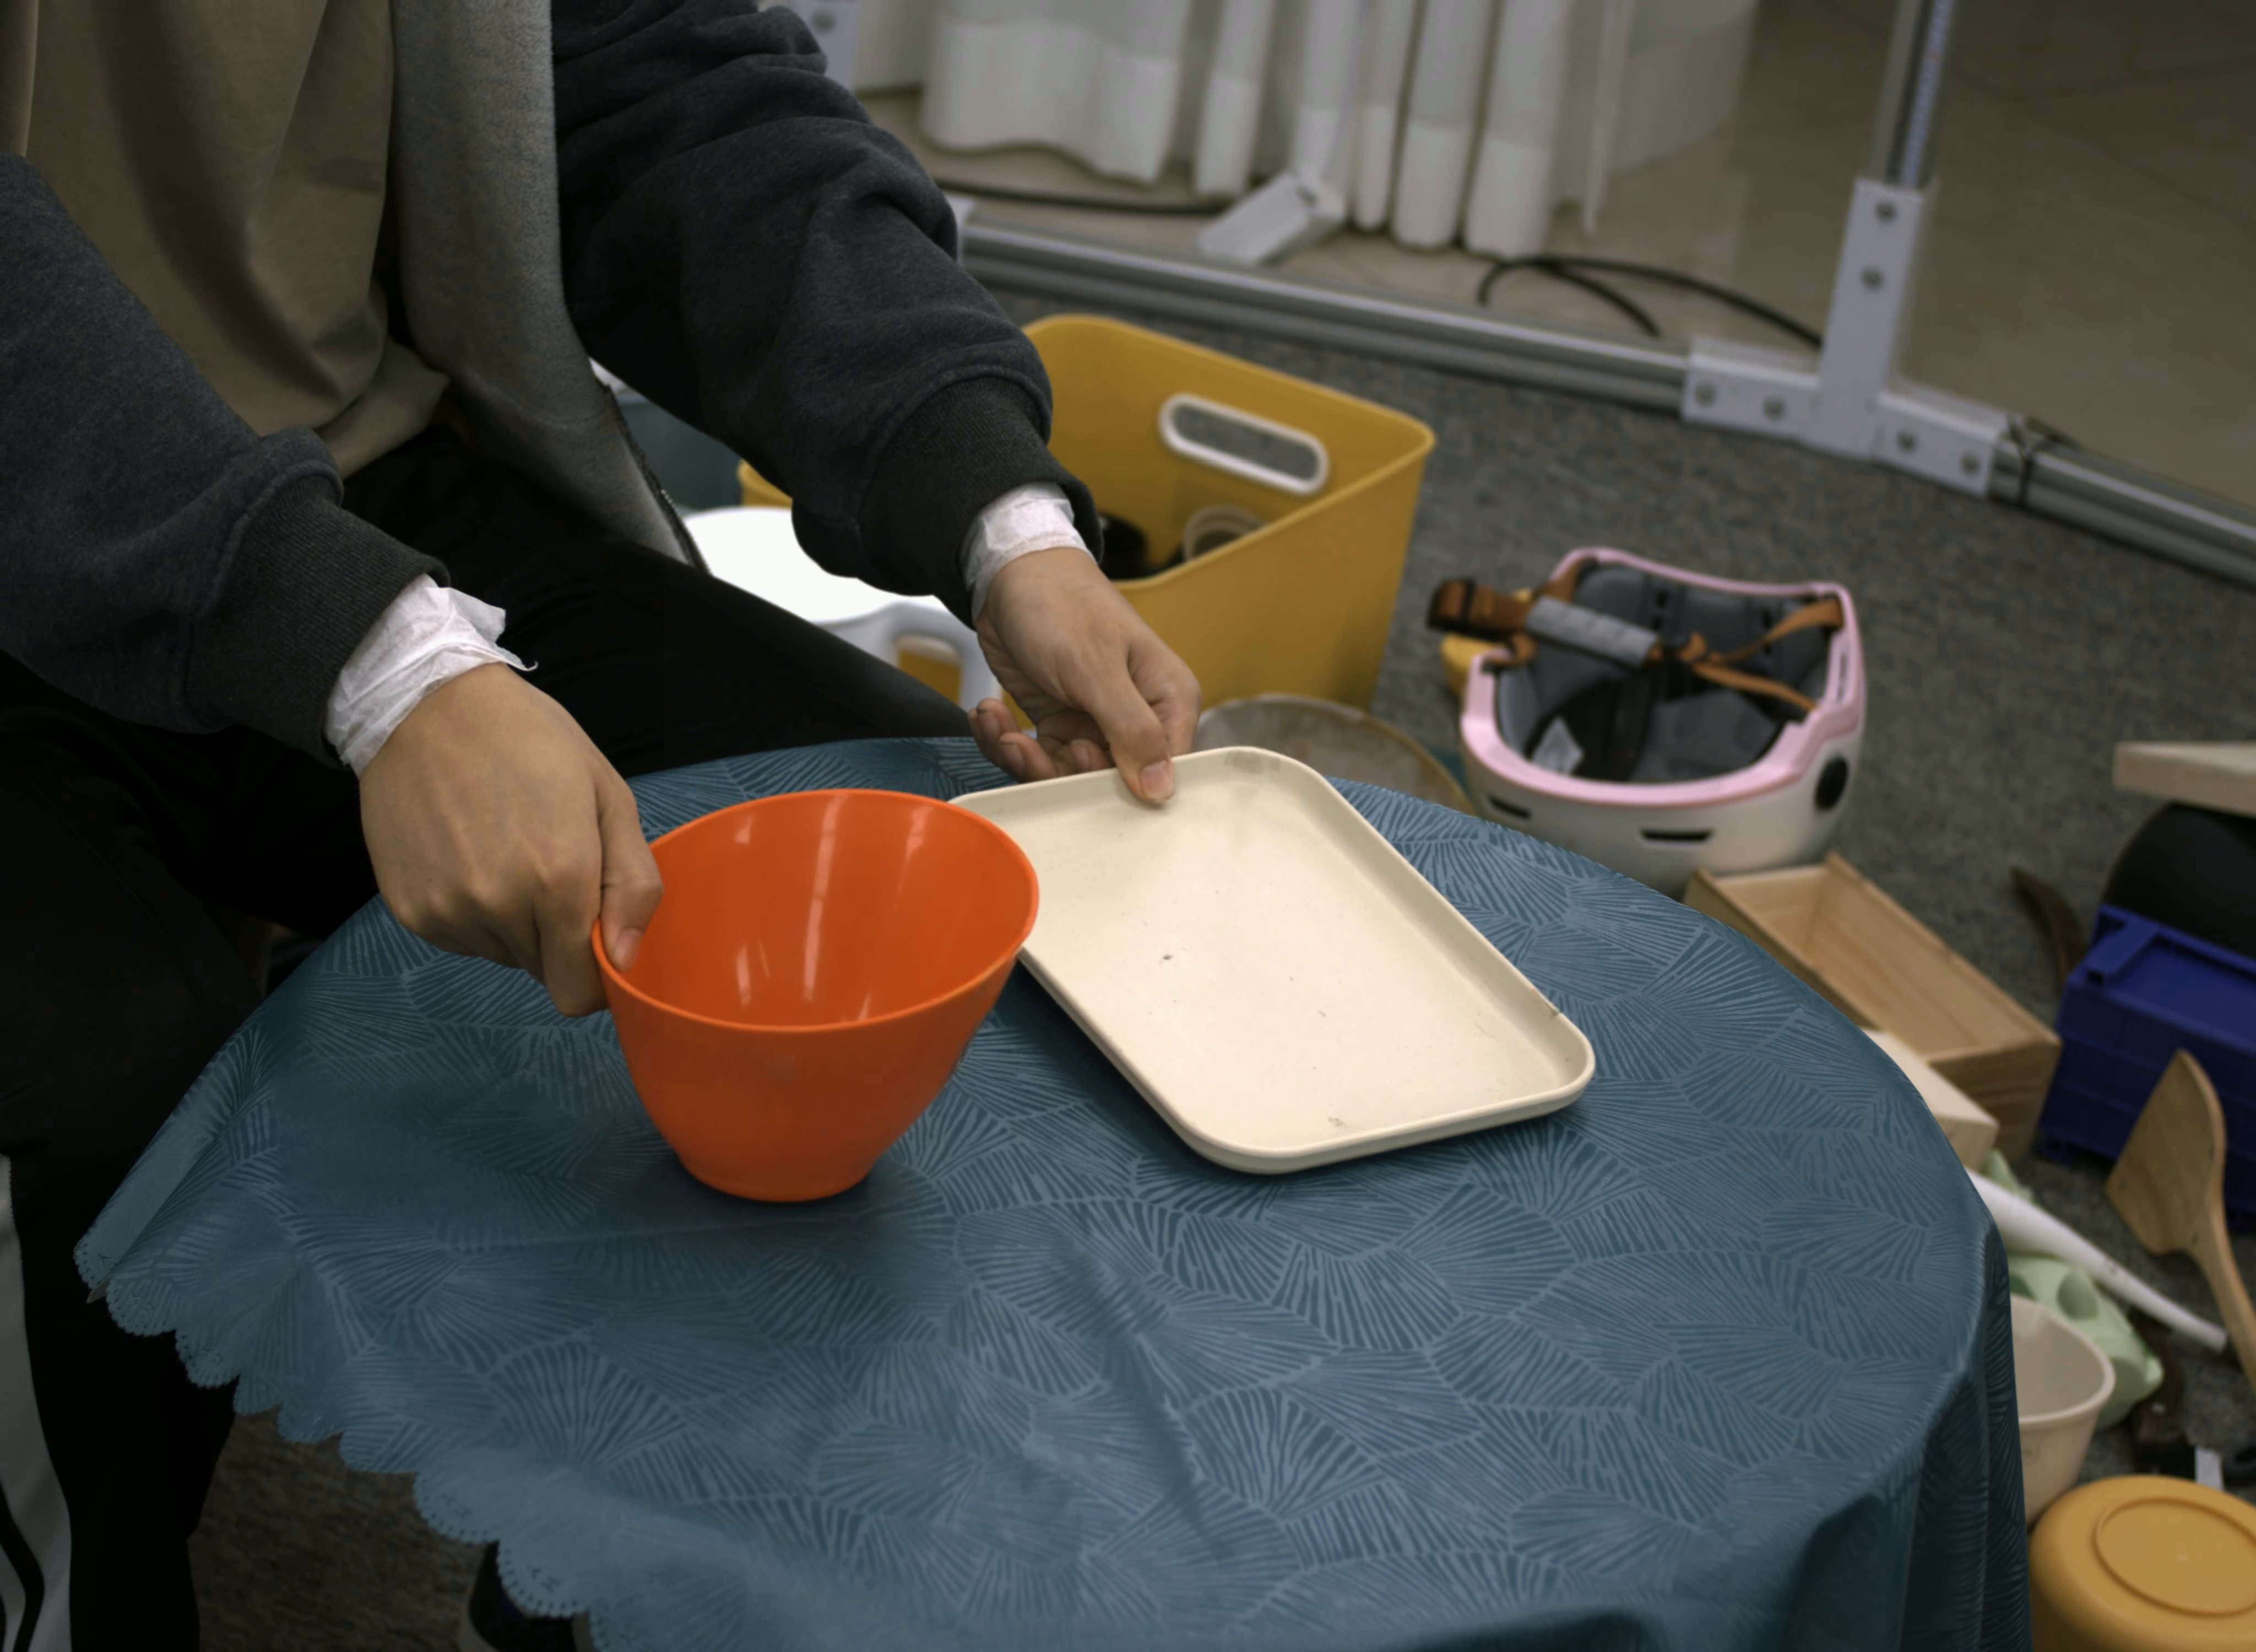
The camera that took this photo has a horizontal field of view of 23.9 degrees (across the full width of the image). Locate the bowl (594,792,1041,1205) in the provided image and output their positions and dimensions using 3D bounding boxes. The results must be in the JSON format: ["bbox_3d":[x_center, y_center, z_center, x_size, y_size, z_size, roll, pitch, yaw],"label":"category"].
[{"bbox_3d":[-0.106,0.063,1.778,0.147,0.104,0.149,5,26,-3],"label":"bowl"}]

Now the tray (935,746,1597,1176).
[{"bbox_3d":[0.045,0.047,1.922,0.170,0.017,0.242,-11,37,-29],"label":"tray"}]
